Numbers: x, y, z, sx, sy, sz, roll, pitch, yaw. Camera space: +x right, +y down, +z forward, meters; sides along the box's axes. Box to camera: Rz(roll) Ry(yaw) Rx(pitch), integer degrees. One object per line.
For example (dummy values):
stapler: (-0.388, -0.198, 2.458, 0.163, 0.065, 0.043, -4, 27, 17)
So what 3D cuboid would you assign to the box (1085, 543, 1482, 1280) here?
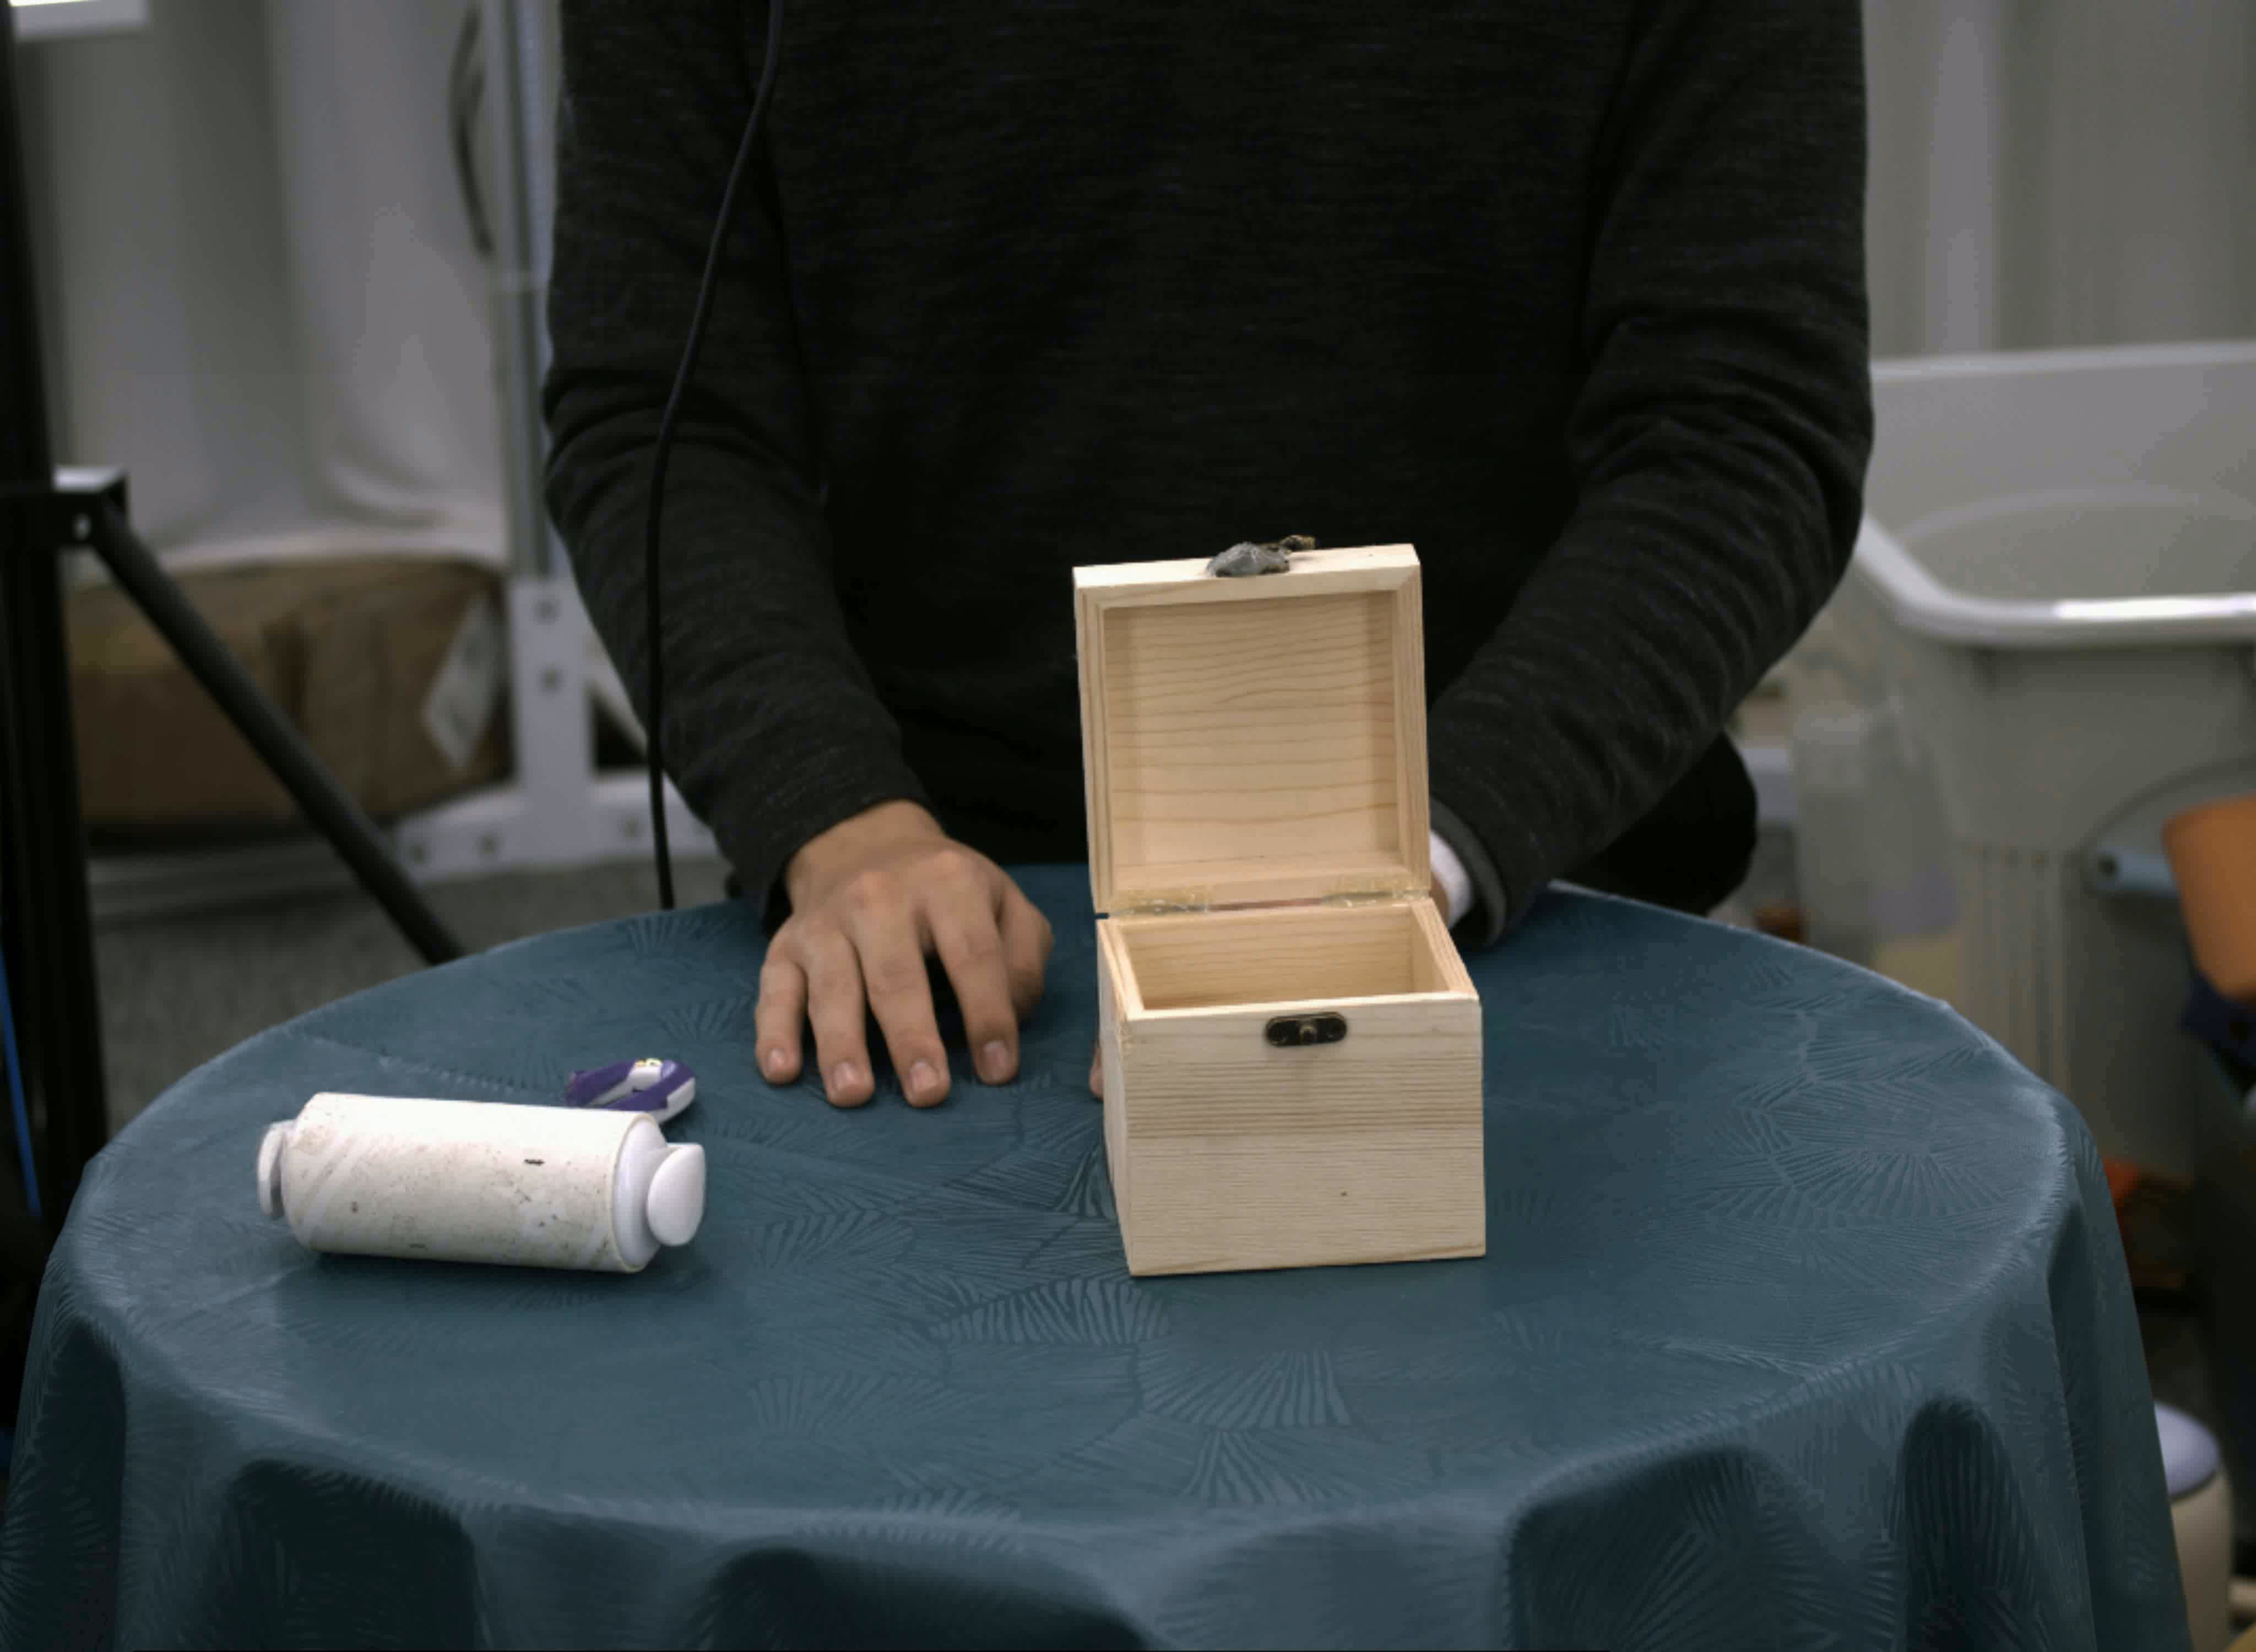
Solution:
box: (0.044, 0.022, 1.521, 0.102, 0.184, 0.135, -3, 14, -3)

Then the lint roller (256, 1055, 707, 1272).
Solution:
lint roller: (-0.167, 0.084, 1.584, 0.134, 0.050, 0.179, 1, 18, 18)
